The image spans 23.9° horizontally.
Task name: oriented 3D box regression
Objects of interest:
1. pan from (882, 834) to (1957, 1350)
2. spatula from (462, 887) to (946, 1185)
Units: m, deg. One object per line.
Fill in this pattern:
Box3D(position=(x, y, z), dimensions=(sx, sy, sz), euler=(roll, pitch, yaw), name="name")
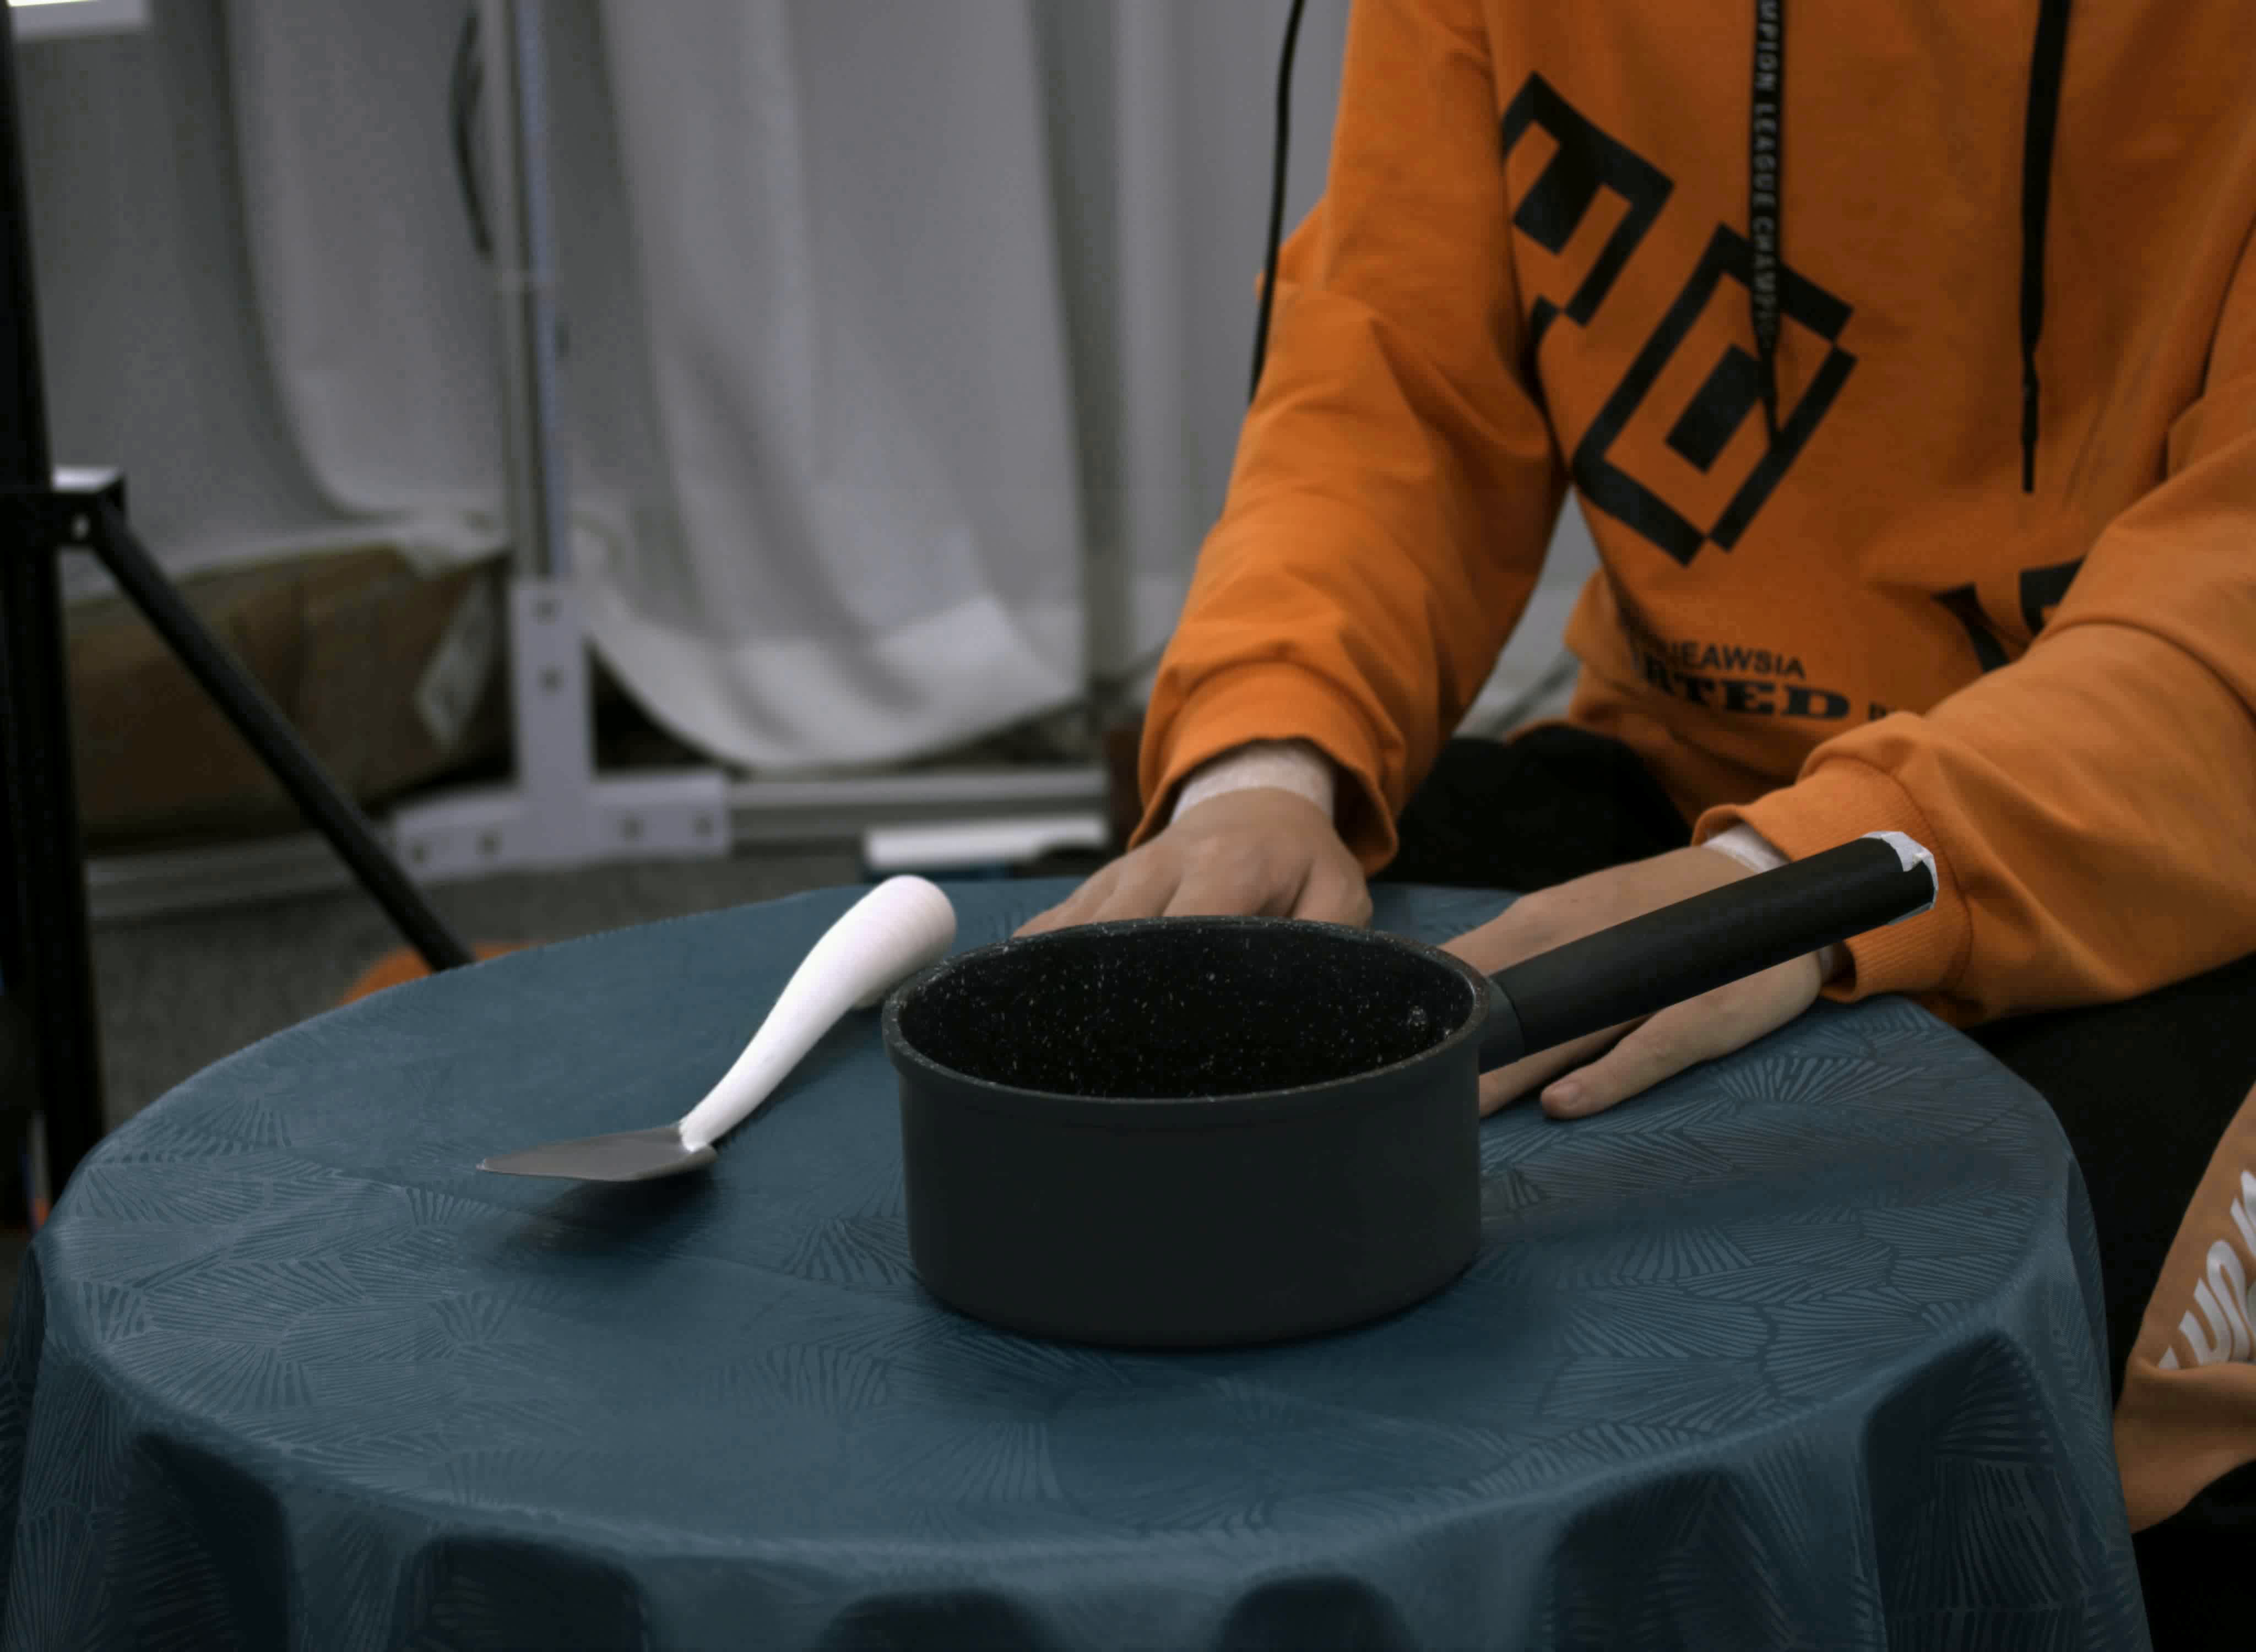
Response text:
Box3D(position=(0.090, 0.071, 1.519), dimensions=(0.323, 0.086, 0.175), euler=(-10, 18, -19), name="pan")
Box3D(position=(-0.121, 0.072, 1.648), dimensions=(0.059, 0.032, 0.284), euler=(8, 17, 18), name="spatula")
